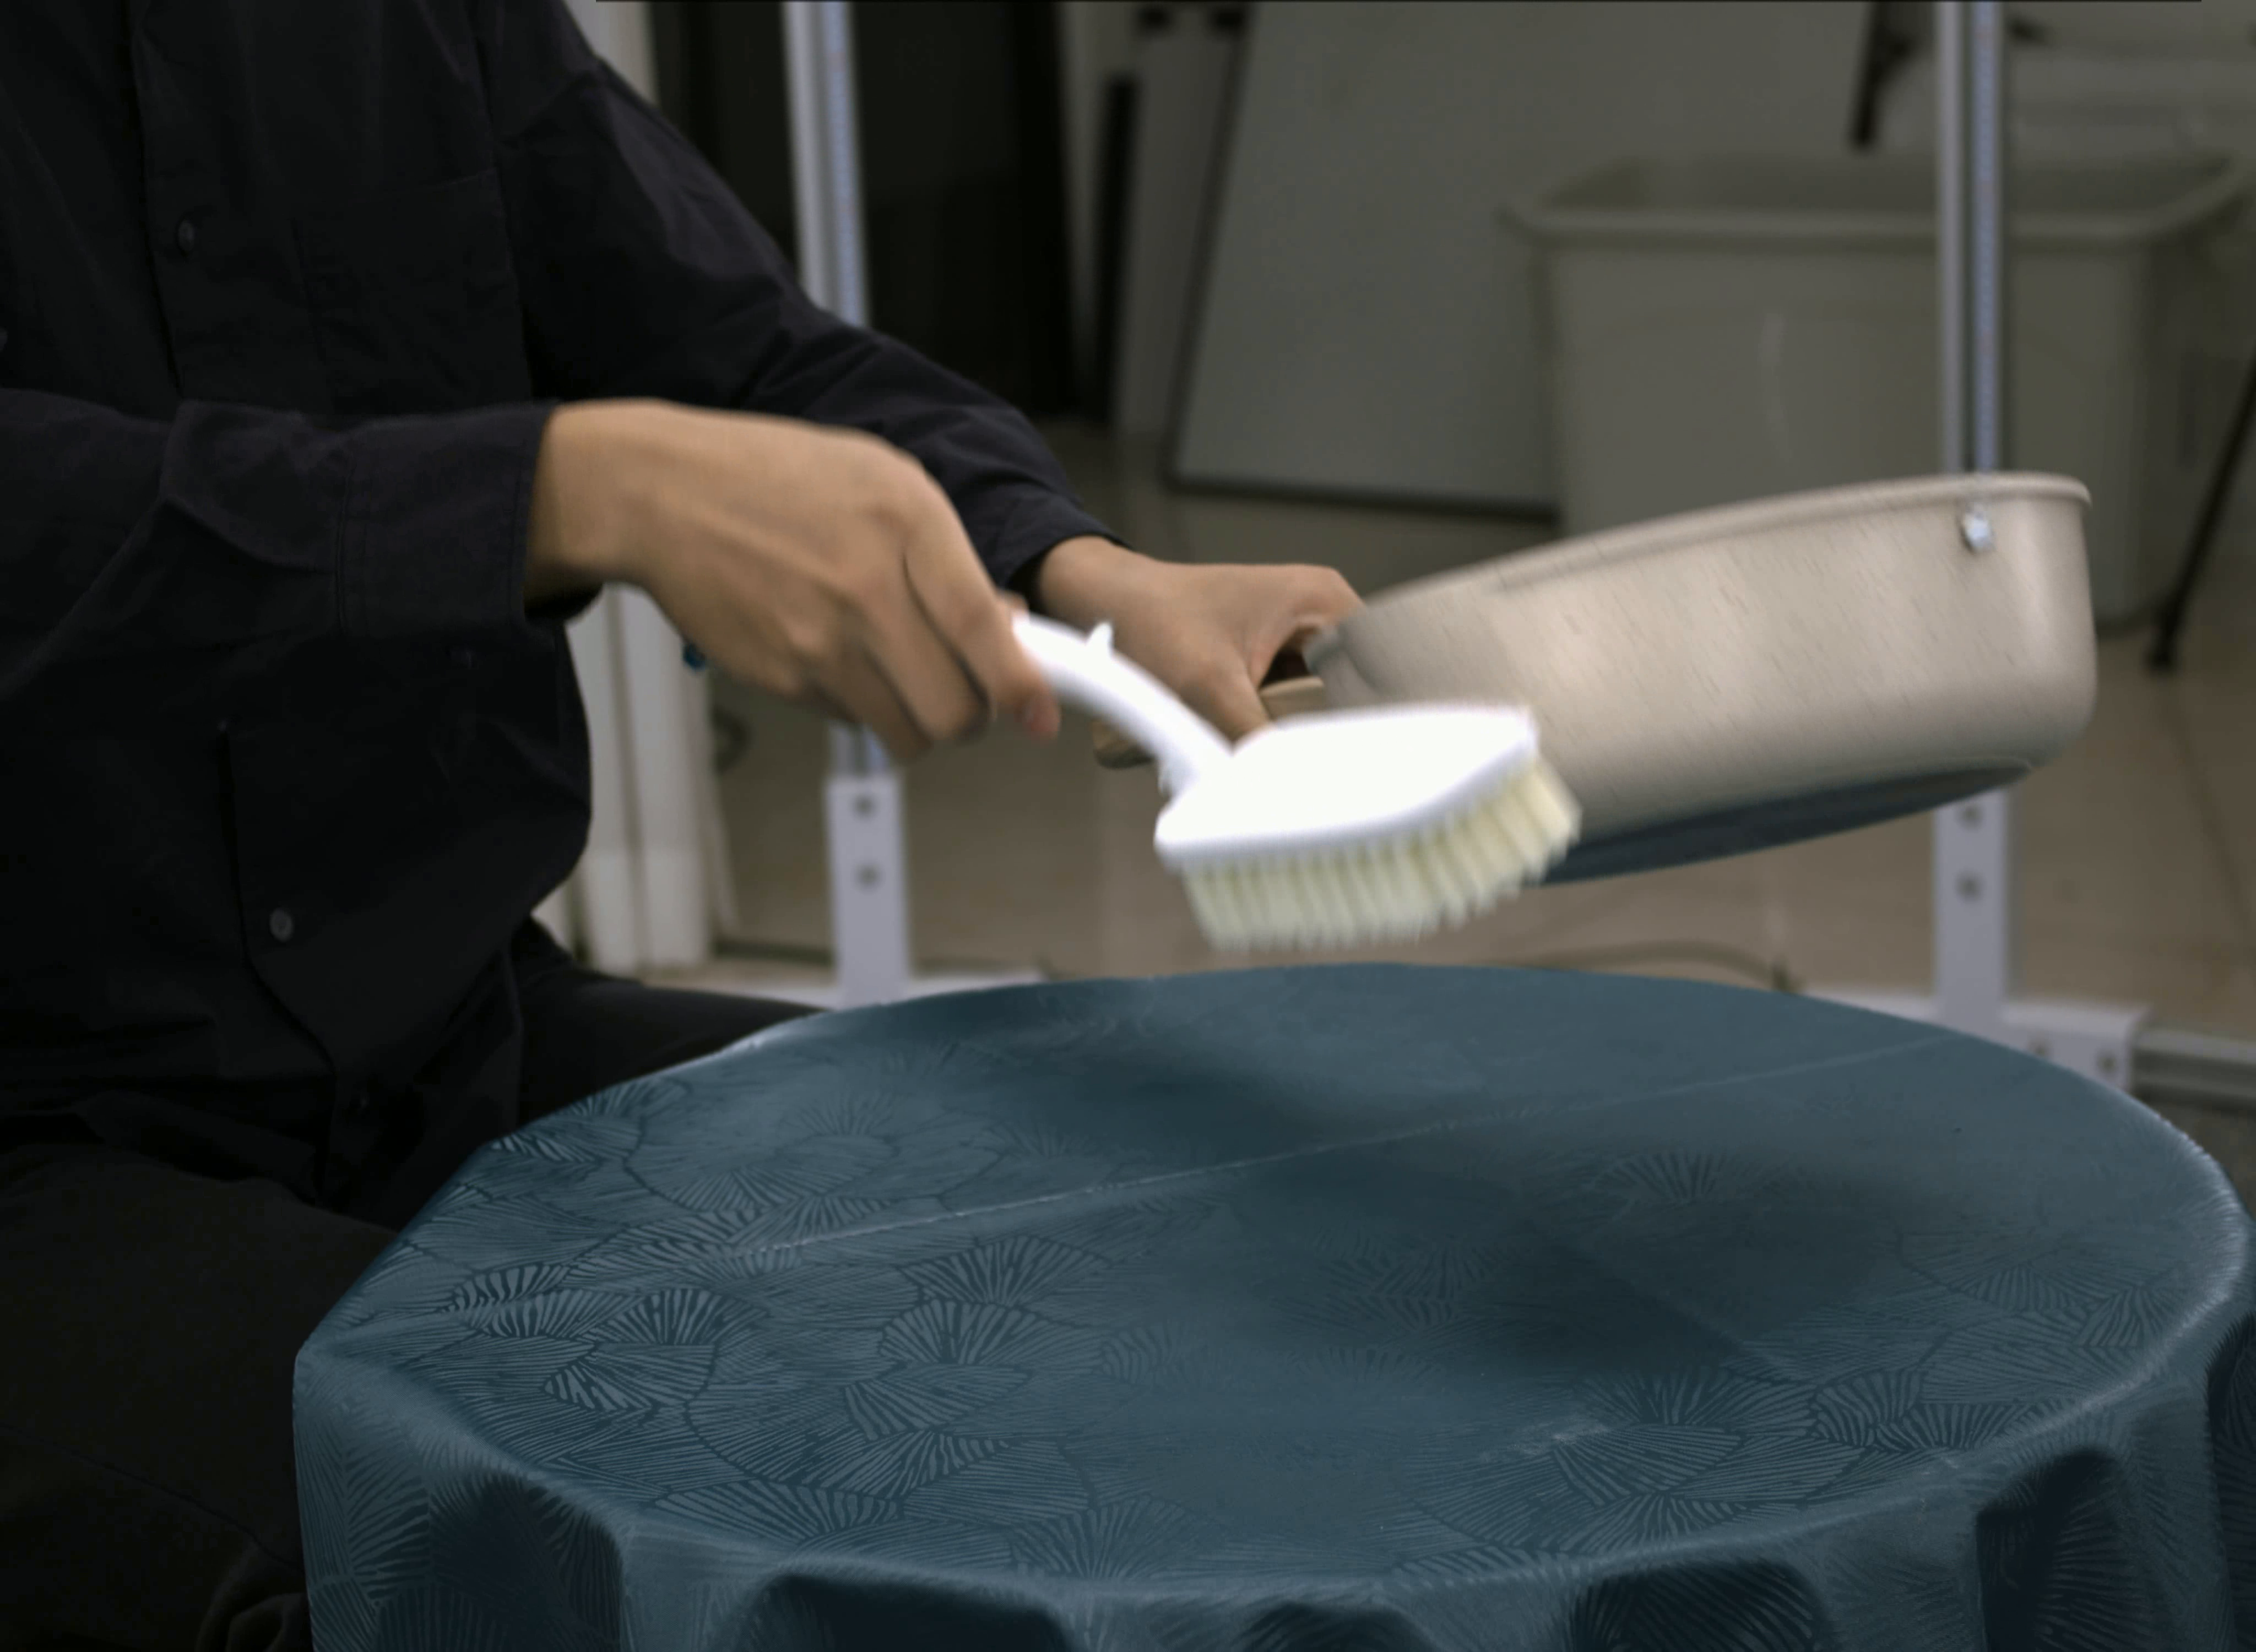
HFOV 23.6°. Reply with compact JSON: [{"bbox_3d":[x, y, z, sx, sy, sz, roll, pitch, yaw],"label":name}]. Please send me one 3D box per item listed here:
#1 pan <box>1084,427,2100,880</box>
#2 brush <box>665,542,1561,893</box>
[{"bbox_3d":[0.129,-0.032,1.749,0.257,0.103,0.439,-5,-11,-37],"label":"pan"},{"bbox_3d":[-0.006,-0.027,1.591,0.328,0.085,0.081,8,-1,40],"label":"brush"}]
